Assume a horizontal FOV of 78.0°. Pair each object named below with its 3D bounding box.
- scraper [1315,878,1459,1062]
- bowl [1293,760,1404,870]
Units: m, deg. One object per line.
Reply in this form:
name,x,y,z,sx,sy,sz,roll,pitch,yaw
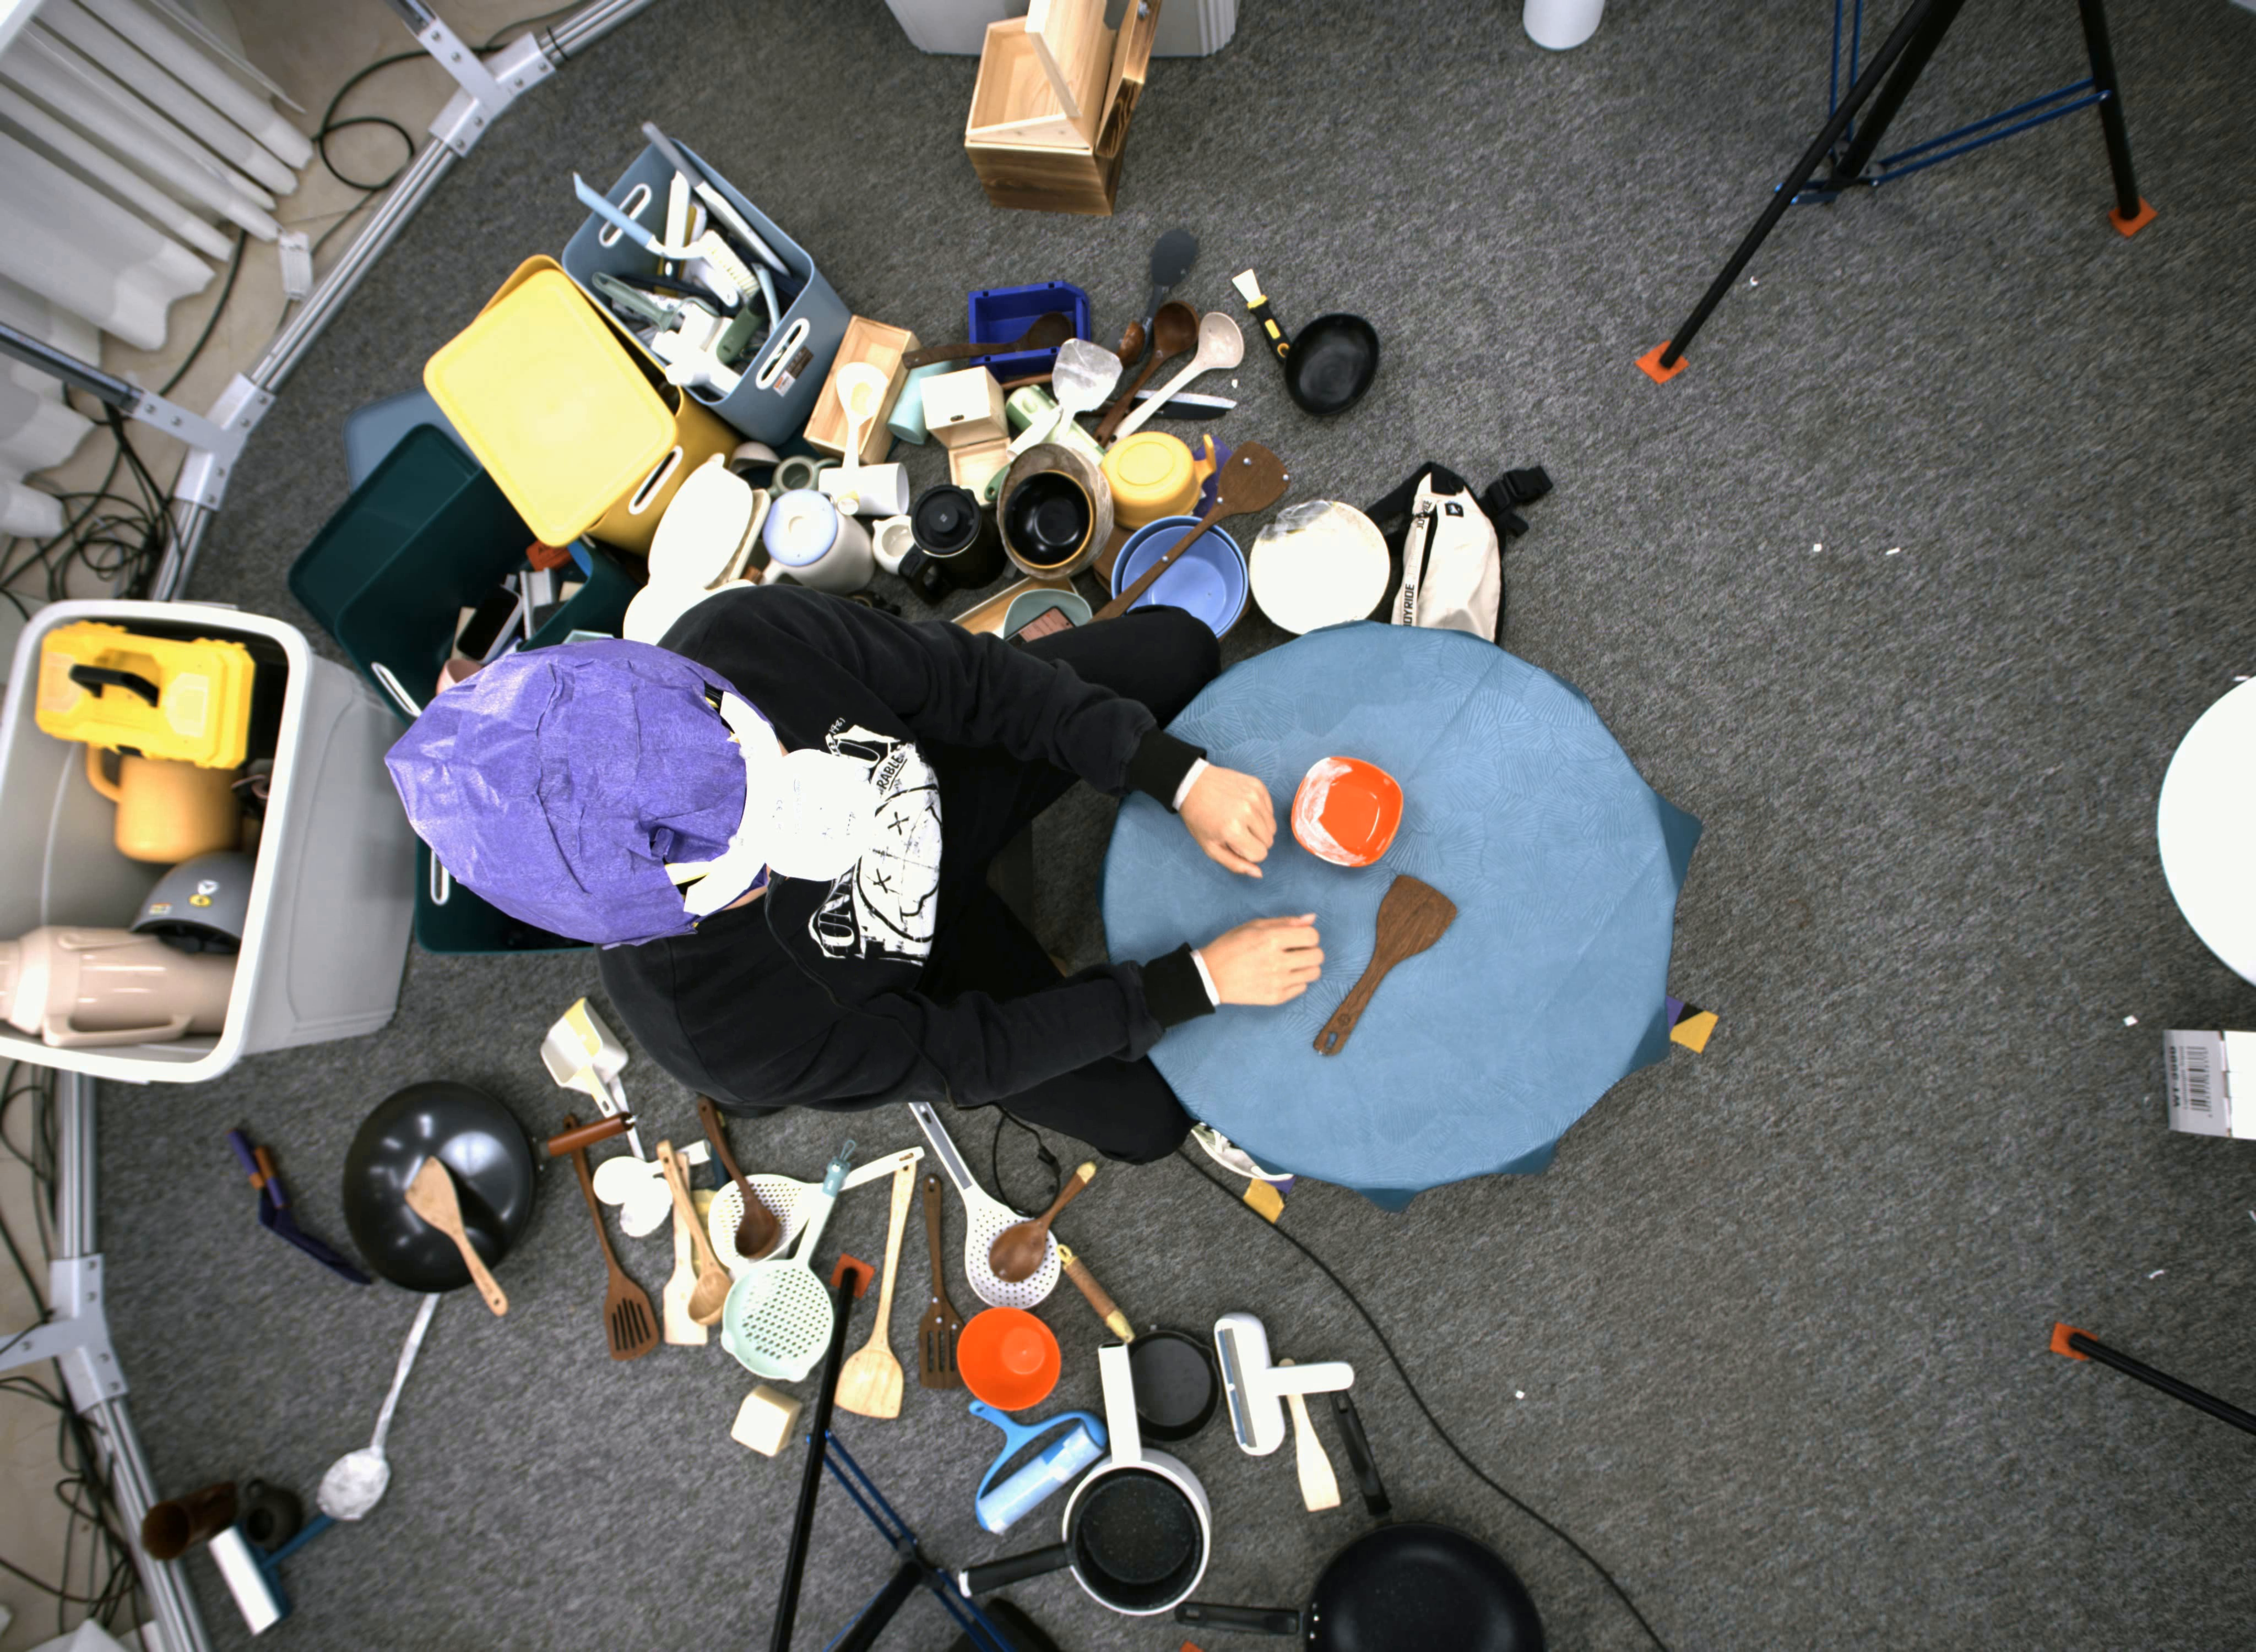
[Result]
scraper,0.263,0.155,1.456,0.075,0.011,0.212,34,93,11
bowl,0.232,-0.010,1.453,0.119,0.051,0.118,-1,86,9
